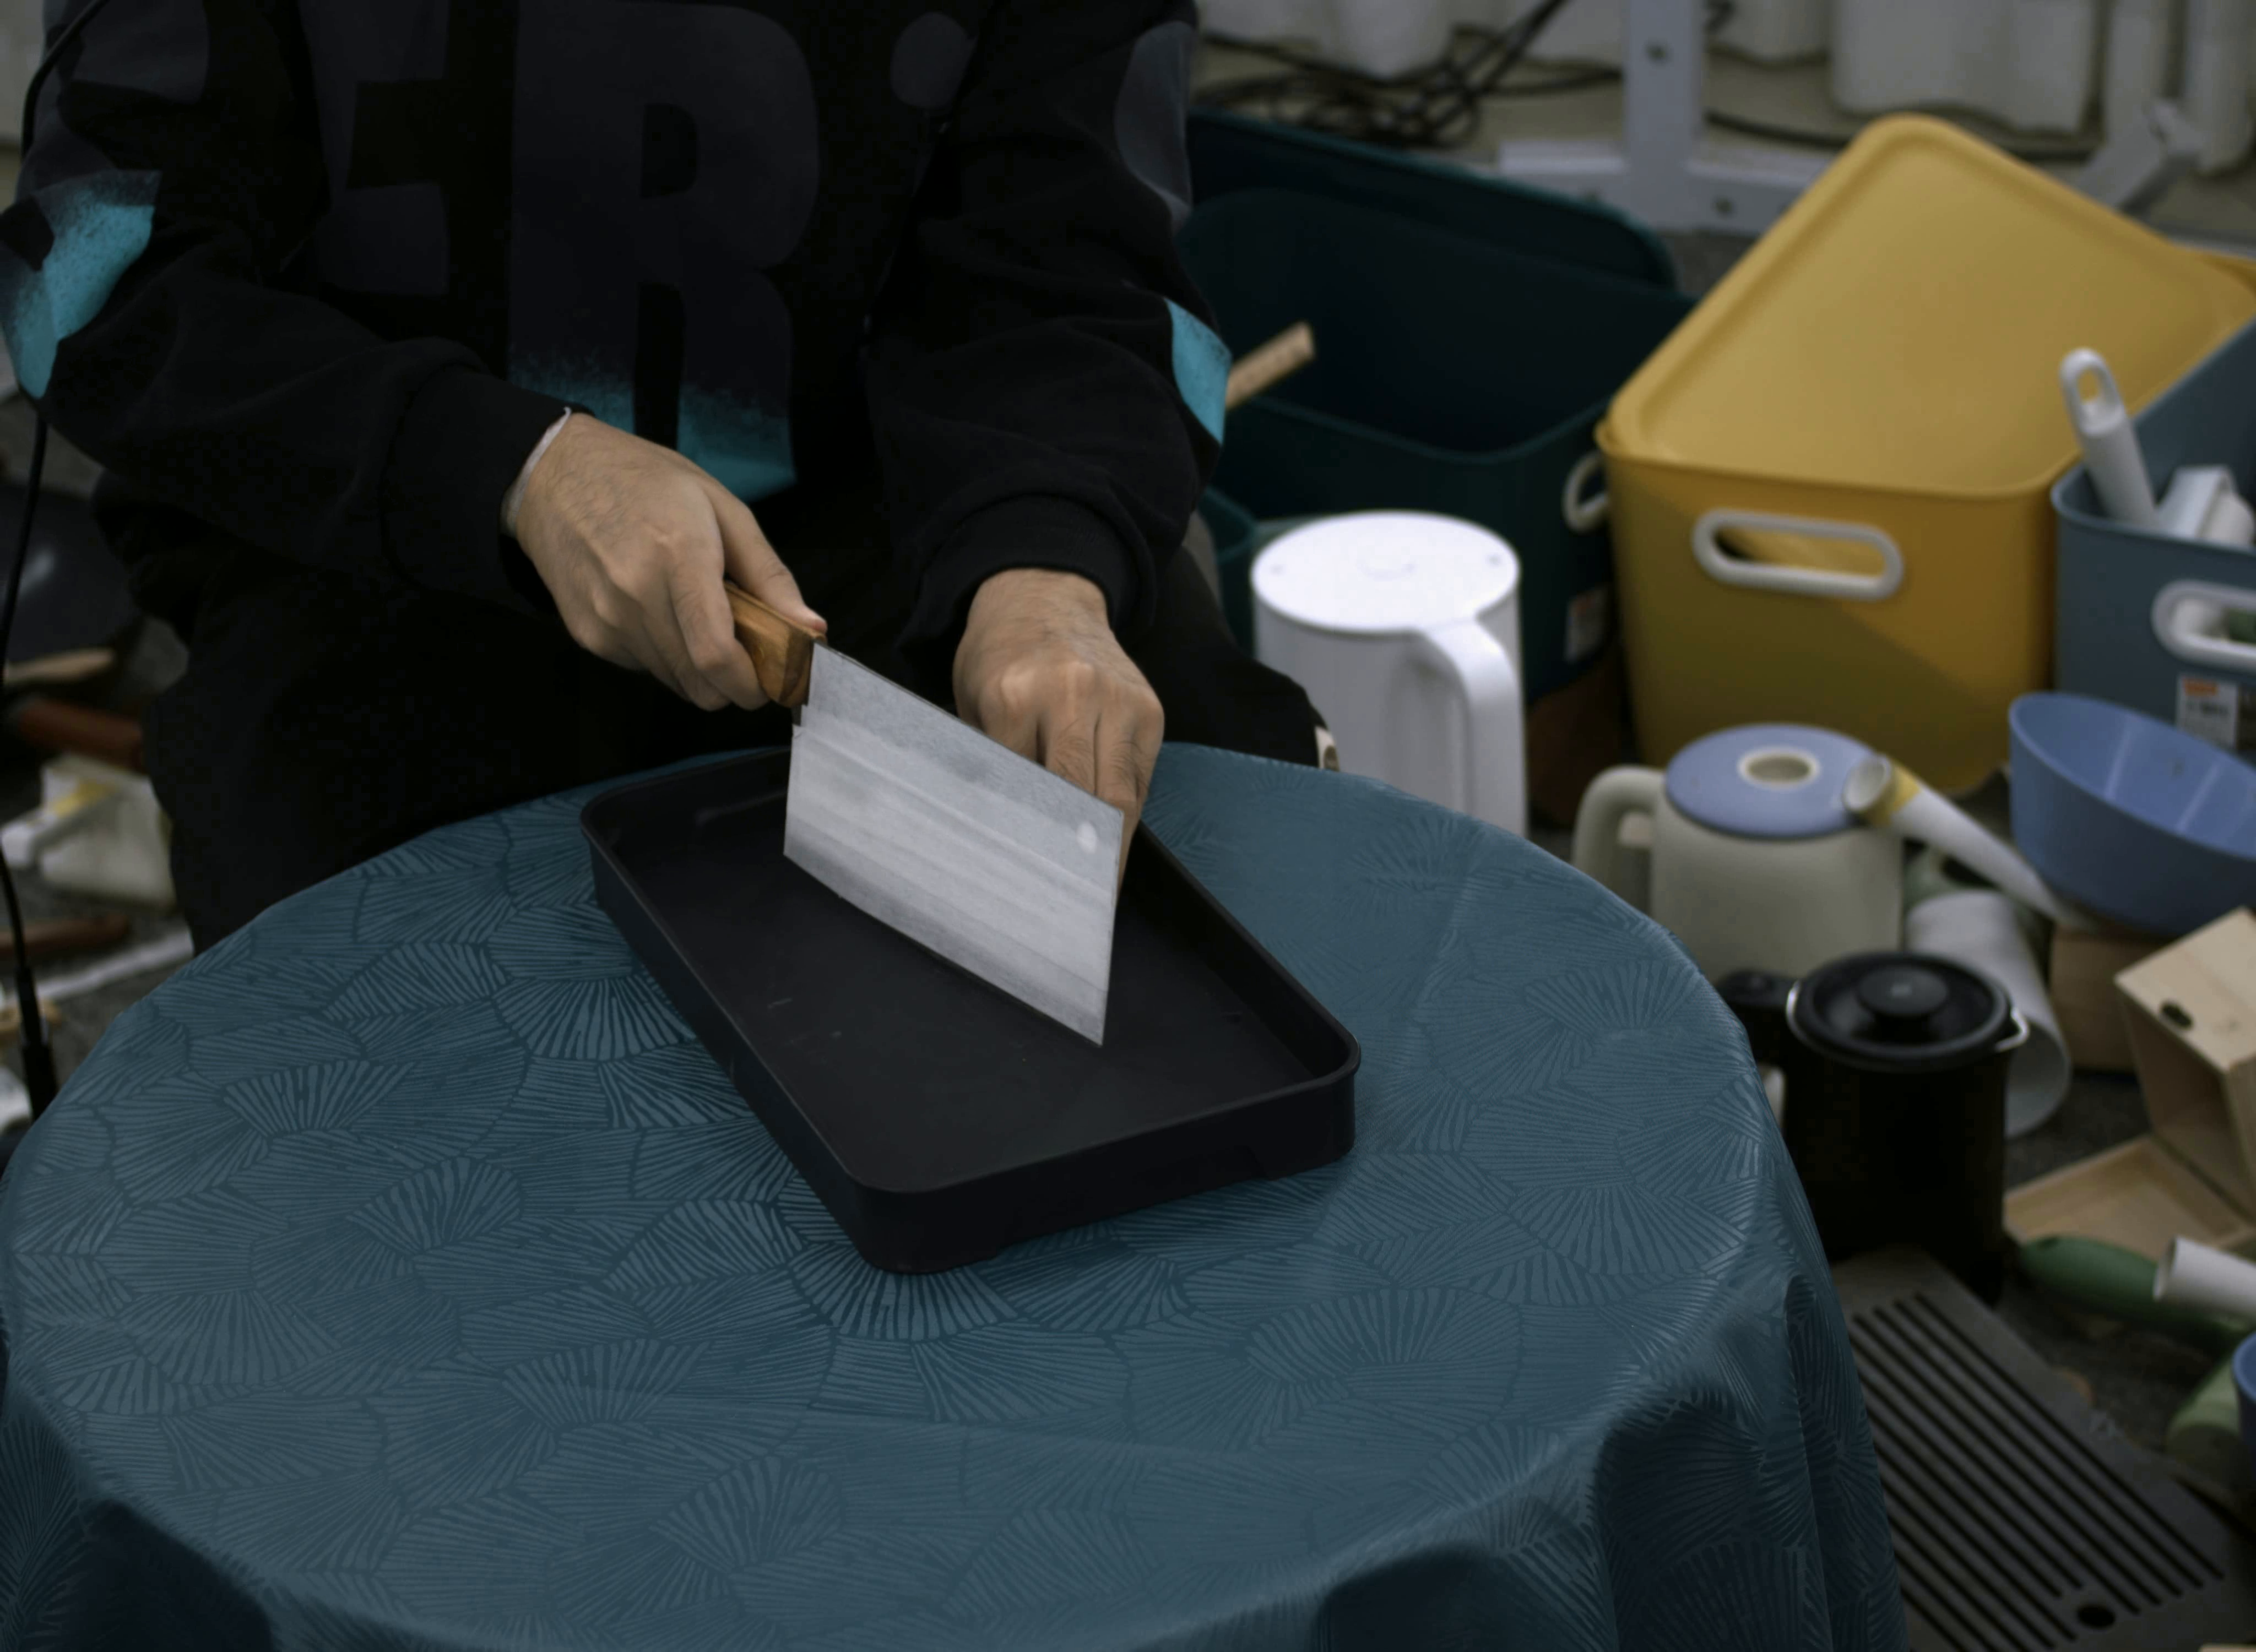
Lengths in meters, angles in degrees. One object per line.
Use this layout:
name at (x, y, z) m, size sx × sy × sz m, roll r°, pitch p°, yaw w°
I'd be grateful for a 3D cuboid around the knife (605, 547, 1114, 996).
knife at (-0.100, -0.018, 2.017) m, size 0.021 × 0.092 × 0.306 m, roll -11°, pitch 26°, yaw -37°

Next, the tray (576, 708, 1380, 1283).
tray at (-0.058, 0.053, 1.962) m, size 0.185 × 0.036 × 0.320 m, roll -15°, pitch 29°, yaw -21°
